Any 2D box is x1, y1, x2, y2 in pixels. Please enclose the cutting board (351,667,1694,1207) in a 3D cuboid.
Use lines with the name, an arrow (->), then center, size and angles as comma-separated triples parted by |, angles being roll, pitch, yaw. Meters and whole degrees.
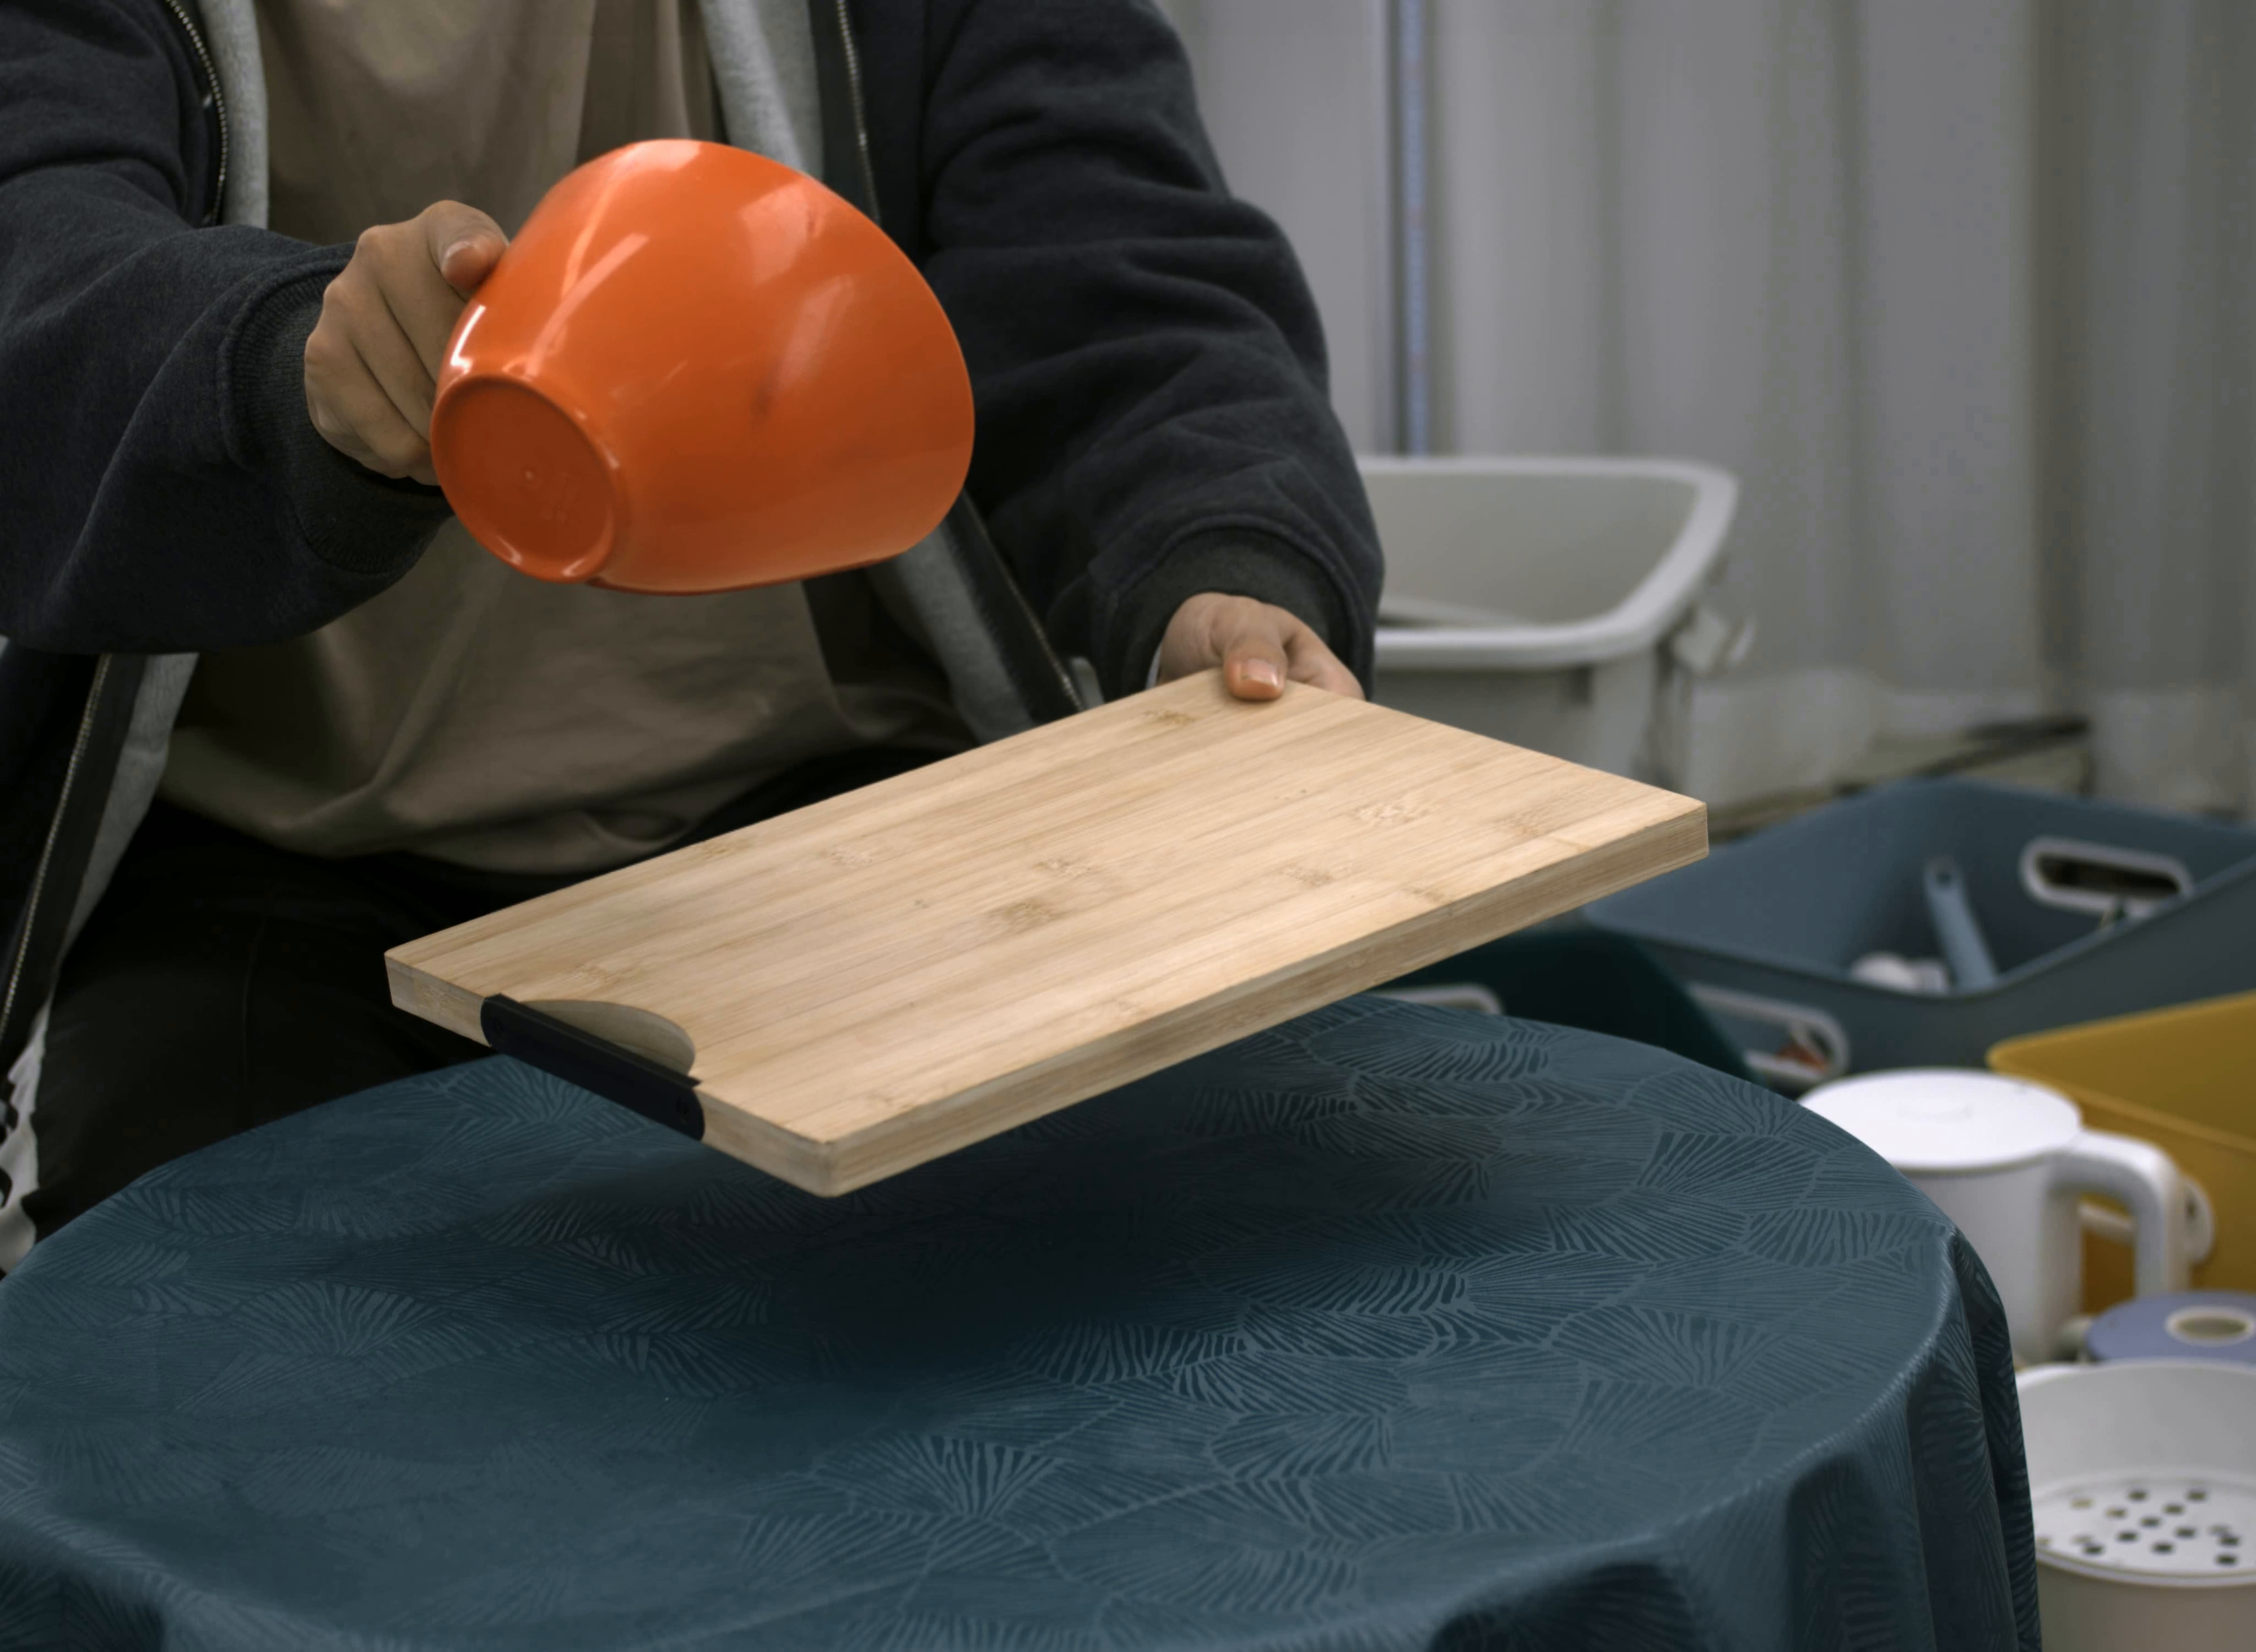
cutting board -> -0.030, 0.026, 1.692 | 0.348, 0.023, 0.252 | -20, 23, -34

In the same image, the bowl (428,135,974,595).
bowl -> -0.133, -0.117, 1.568 | 0.148, 0.146, 0.105 | 8, 34, 35
